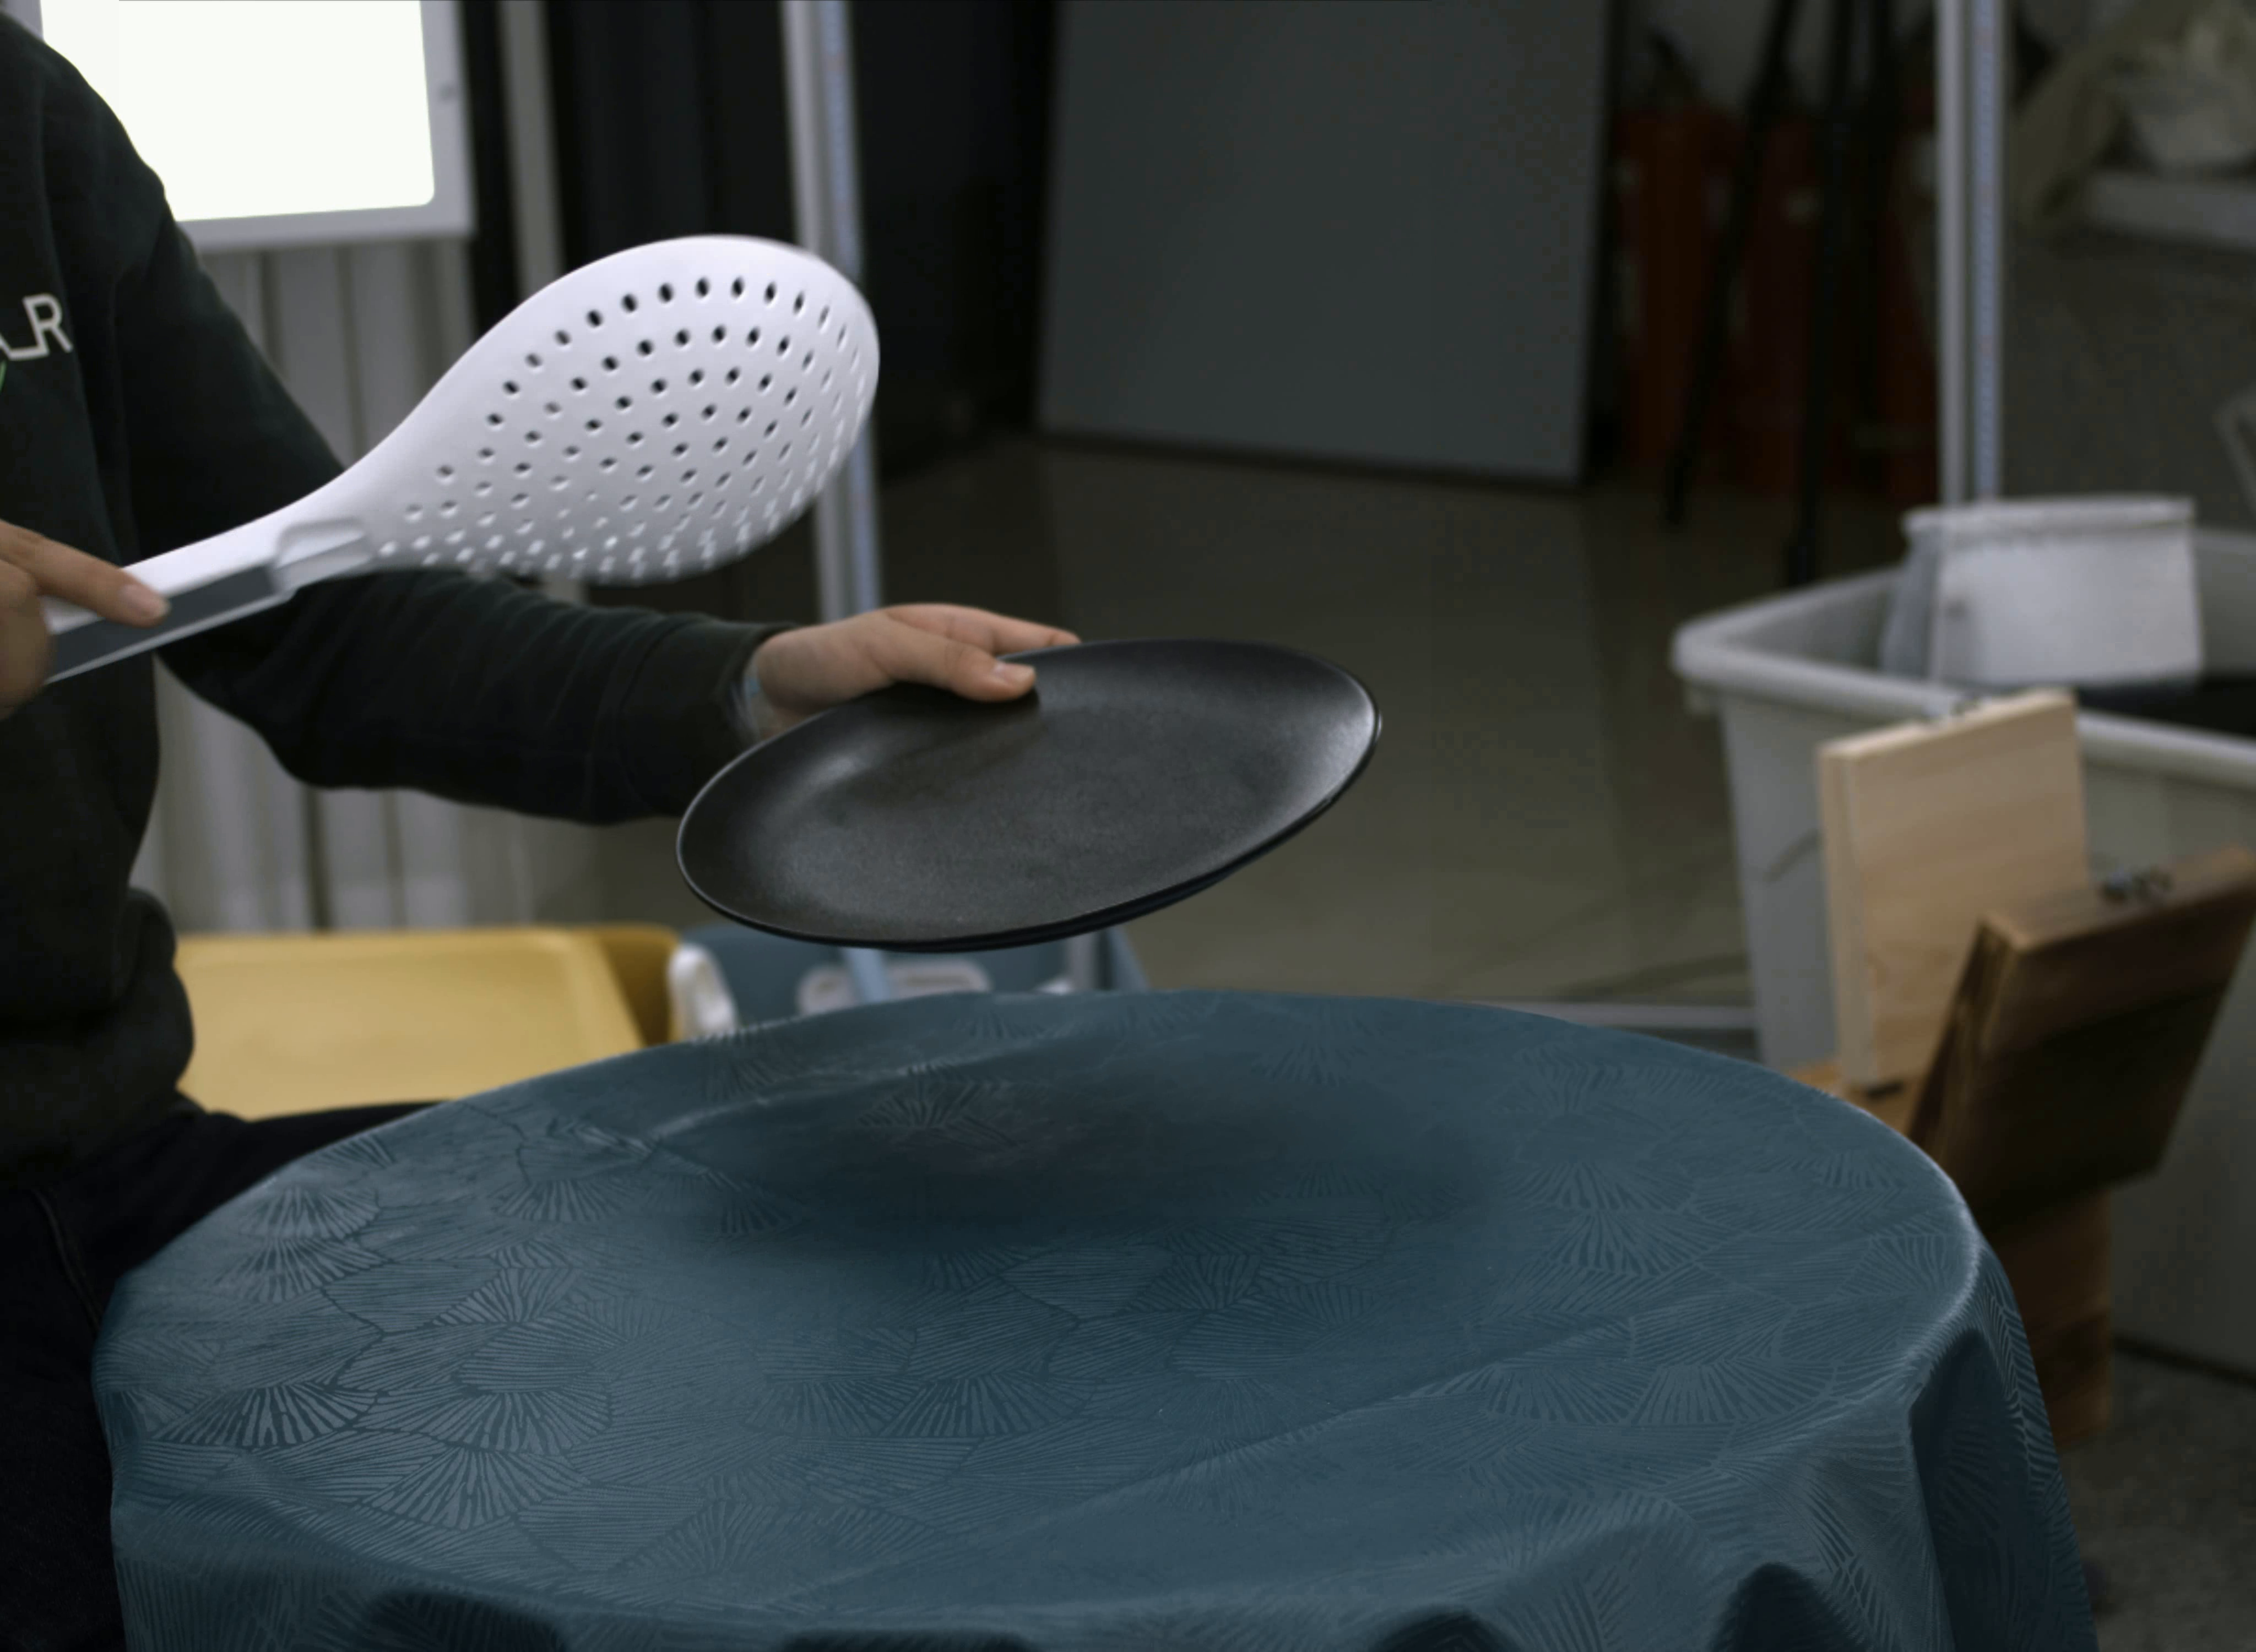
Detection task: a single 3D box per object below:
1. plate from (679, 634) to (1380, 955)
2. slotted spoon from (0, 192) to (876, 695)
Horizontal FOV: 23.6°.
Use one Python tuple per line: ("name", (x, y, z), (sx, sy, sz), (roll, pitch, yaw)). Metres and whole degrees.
("plate", (-0.032, -0.006, 1.812), (0.242, 0.023, 0.245), (-11, 22, 4))
("slotted spoon", (-0.234, -0.090, 1.584), (0.346, 0.136, 0.046), (-18, 55, -1))
